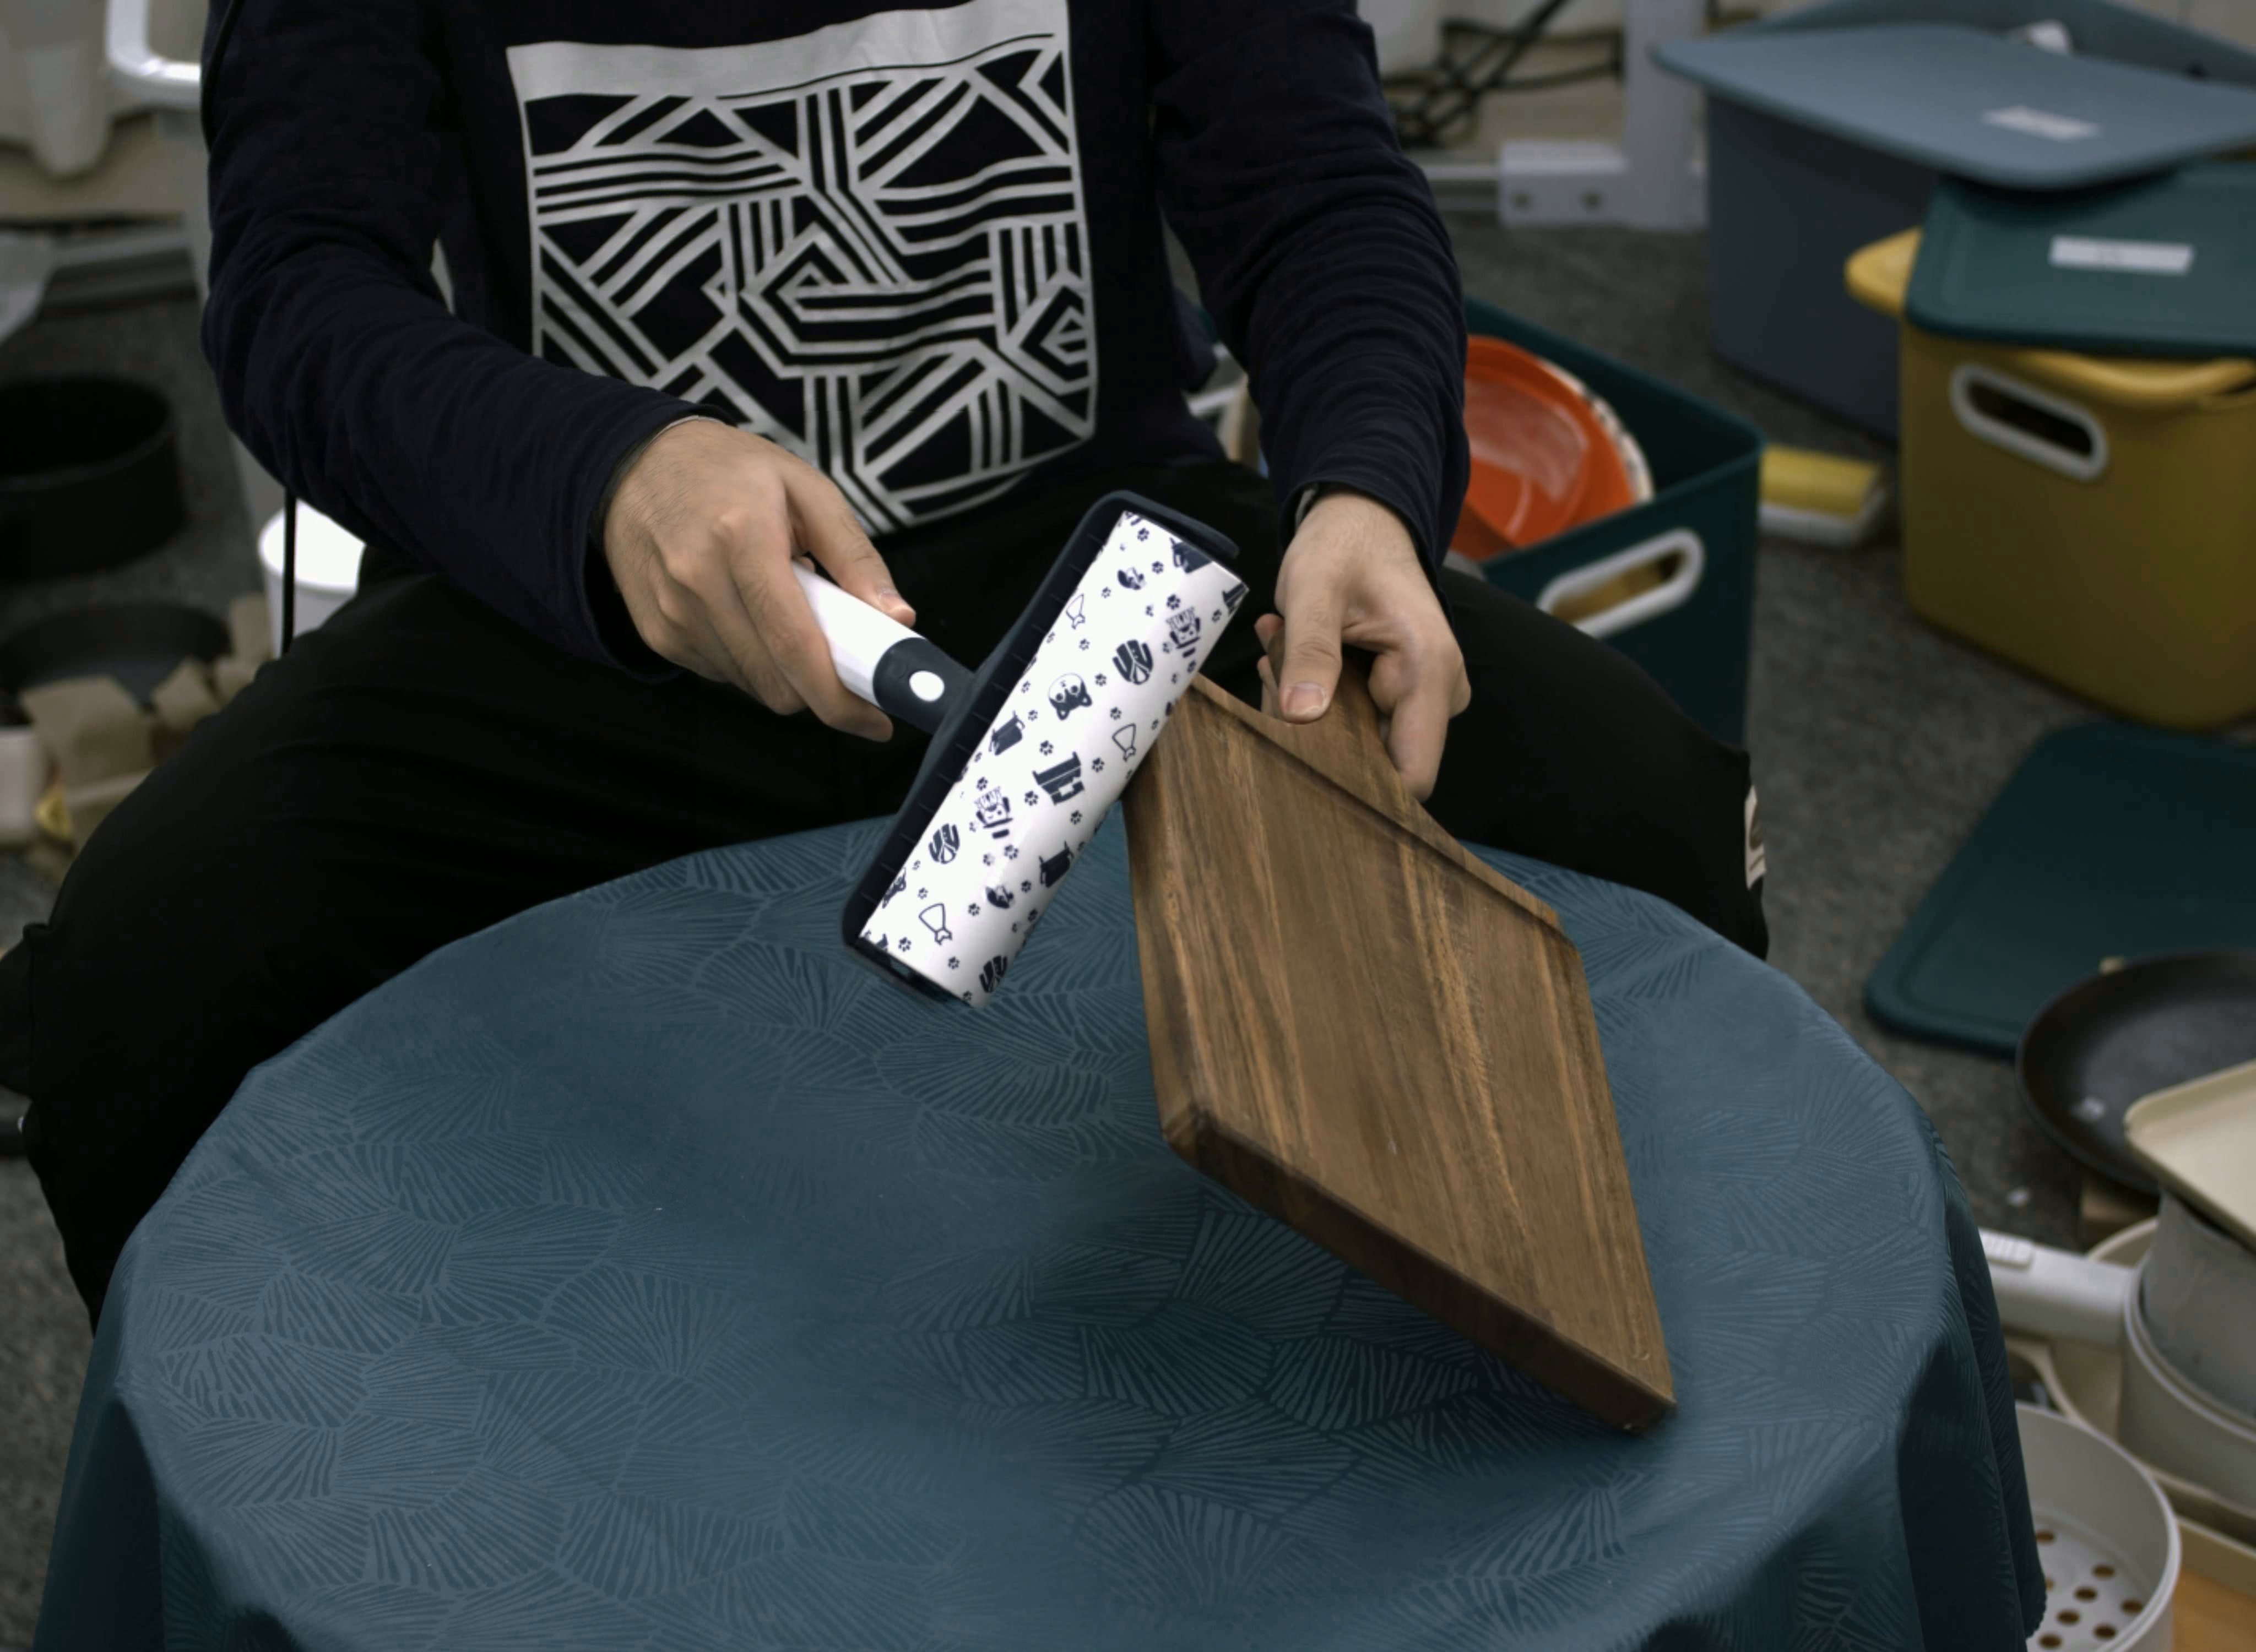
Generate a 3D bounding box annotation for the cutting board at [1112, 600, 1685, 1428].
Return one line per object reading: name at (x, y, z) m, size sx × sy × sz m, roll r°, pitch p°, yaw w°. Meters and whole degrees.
cutting board at (0.077, 0.034, 1.821) m, size 0.200 × 0.023 × 0.358 m, roll 33°, pitch 26°, yaw -25°

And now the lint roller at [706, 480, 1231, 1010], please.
lint roller at (-0.081, -0.053, 1.863) m, size 0.050 × 0.177 × 0.247 m, roll 33°, pitch -4°, yaw -39°
